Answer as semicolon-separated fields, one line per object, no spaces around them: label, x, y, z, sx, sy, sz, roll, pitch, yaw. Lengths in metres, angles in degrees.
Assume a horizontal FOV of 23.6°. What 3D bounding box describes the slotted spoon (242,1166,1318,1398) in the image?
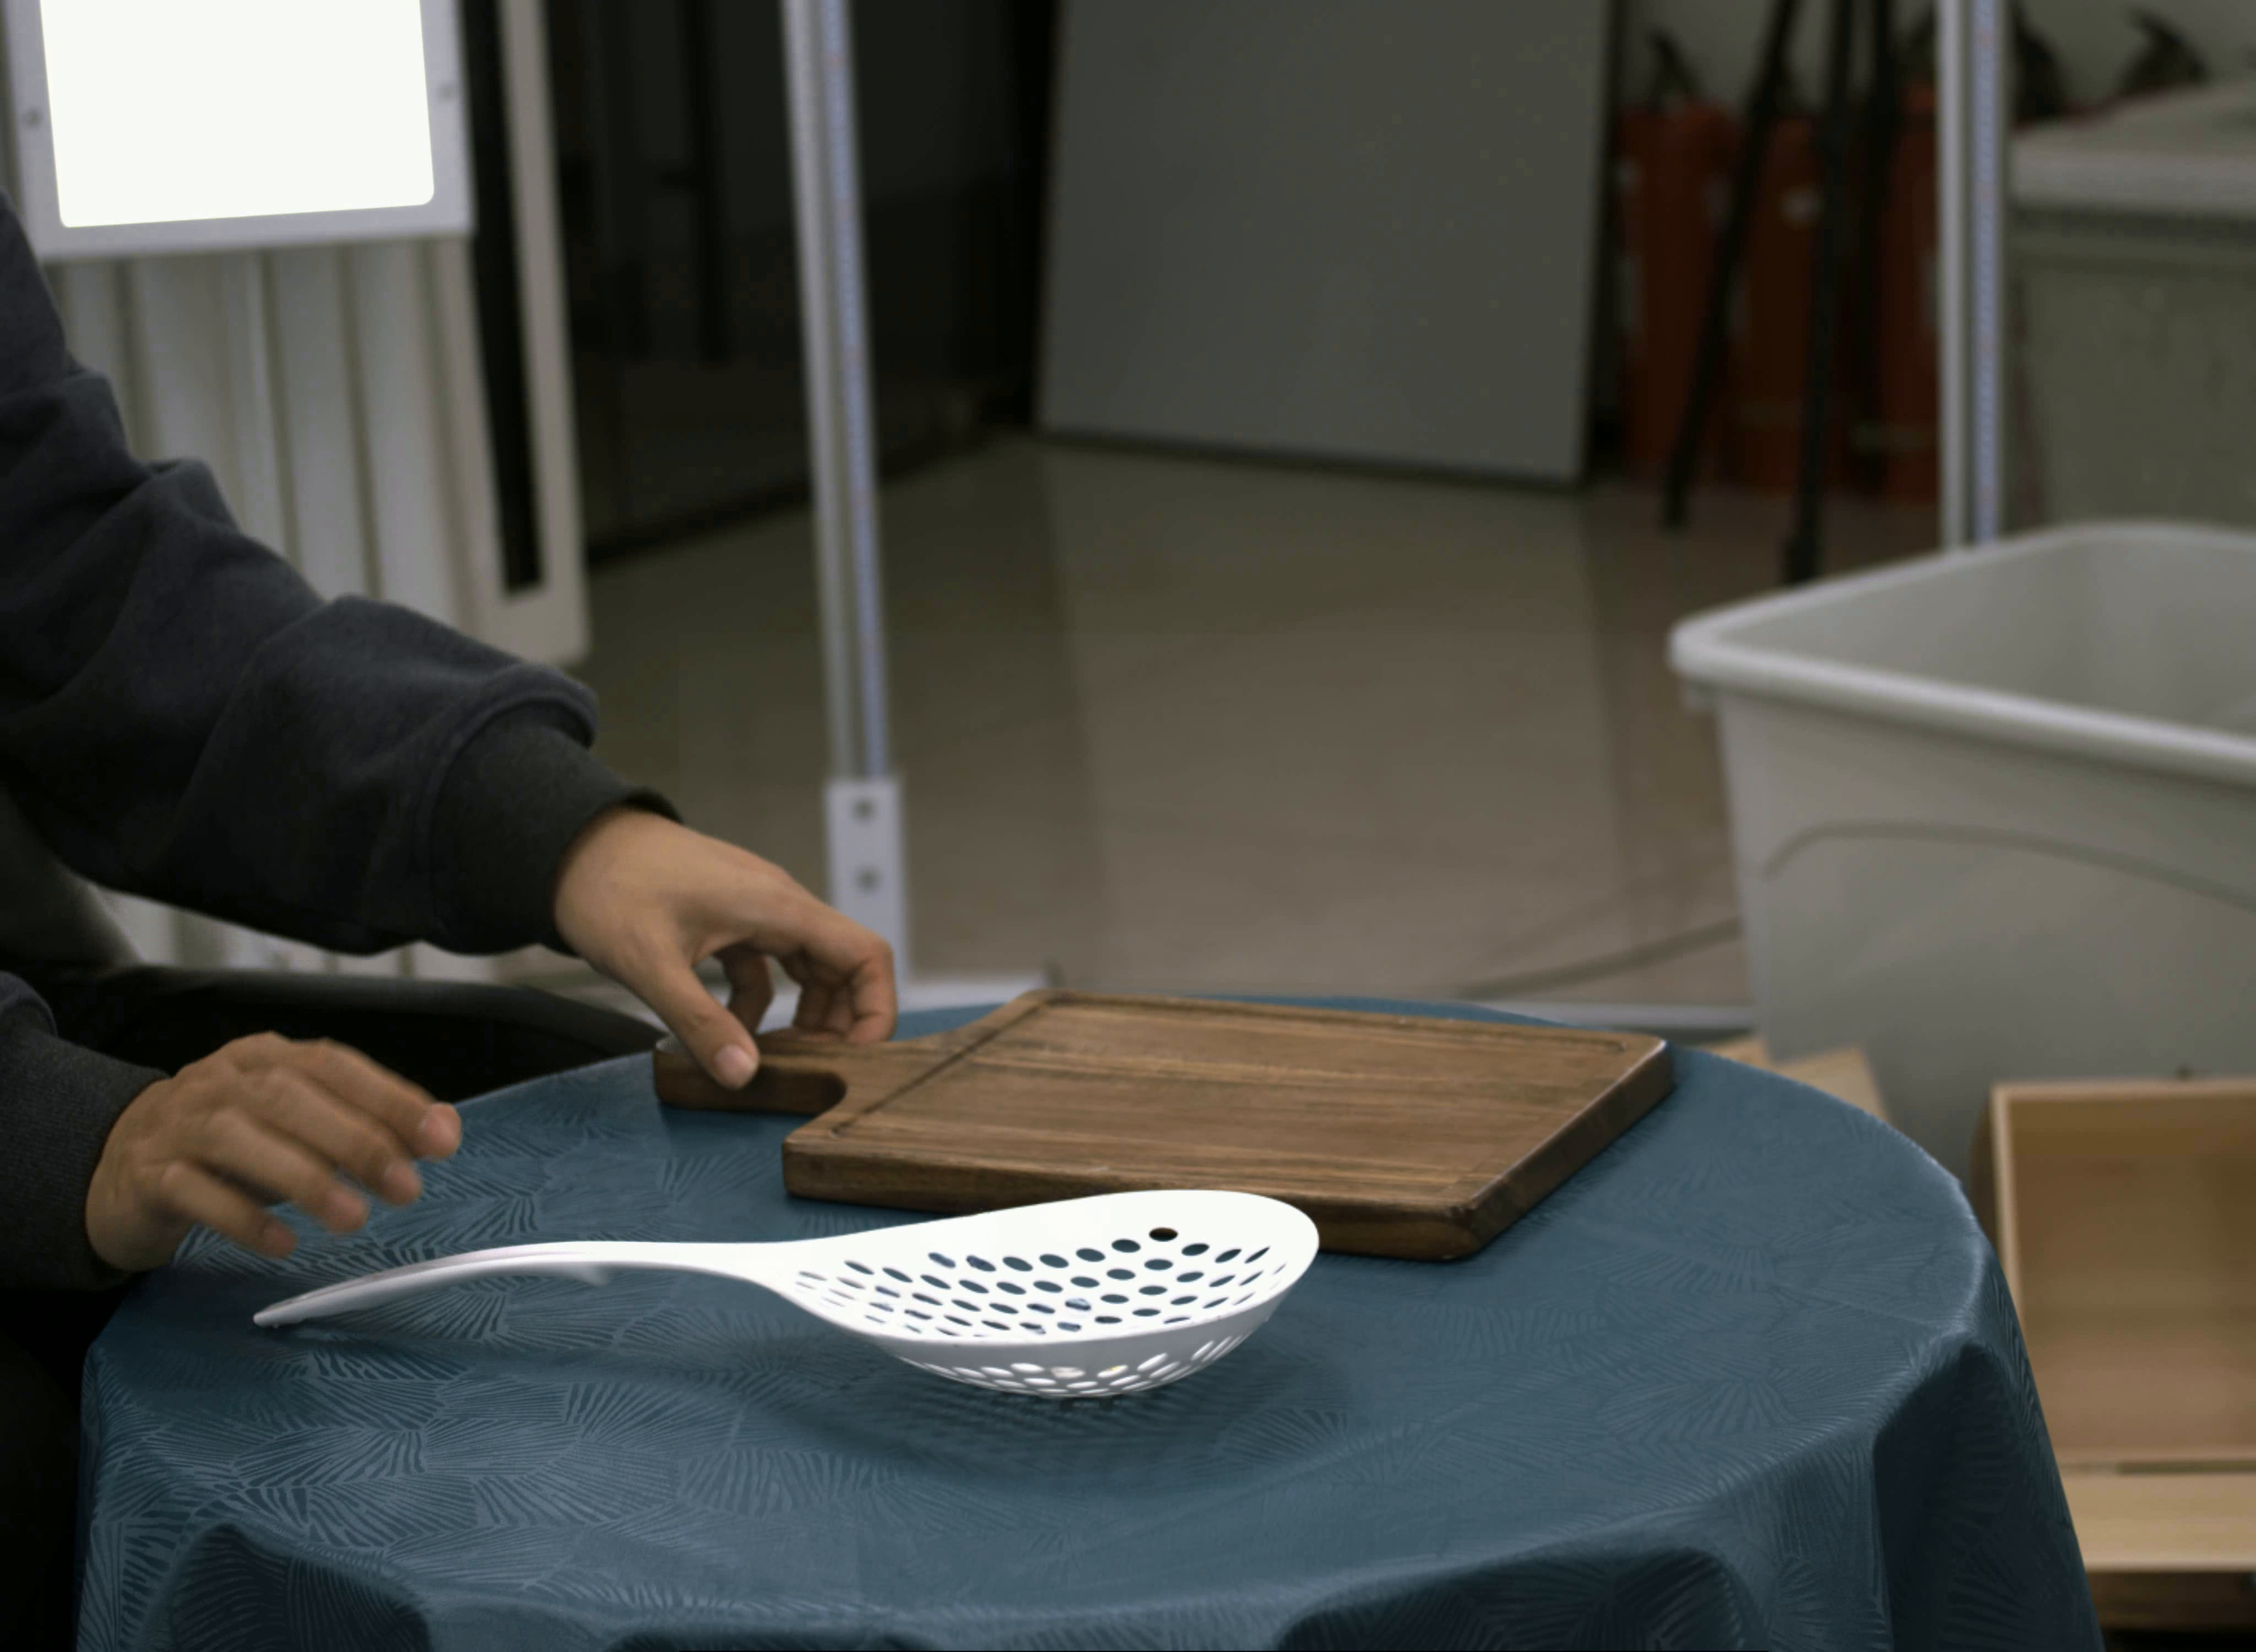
slotted spoon;-0.110;0.142;1.628;0.347;0.051;0.135;1;17;20

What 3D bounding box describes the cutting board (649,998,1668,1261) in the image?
cutting board;-0.009;0.096;1.832;0.353;0.023;0.198;3;15;27
